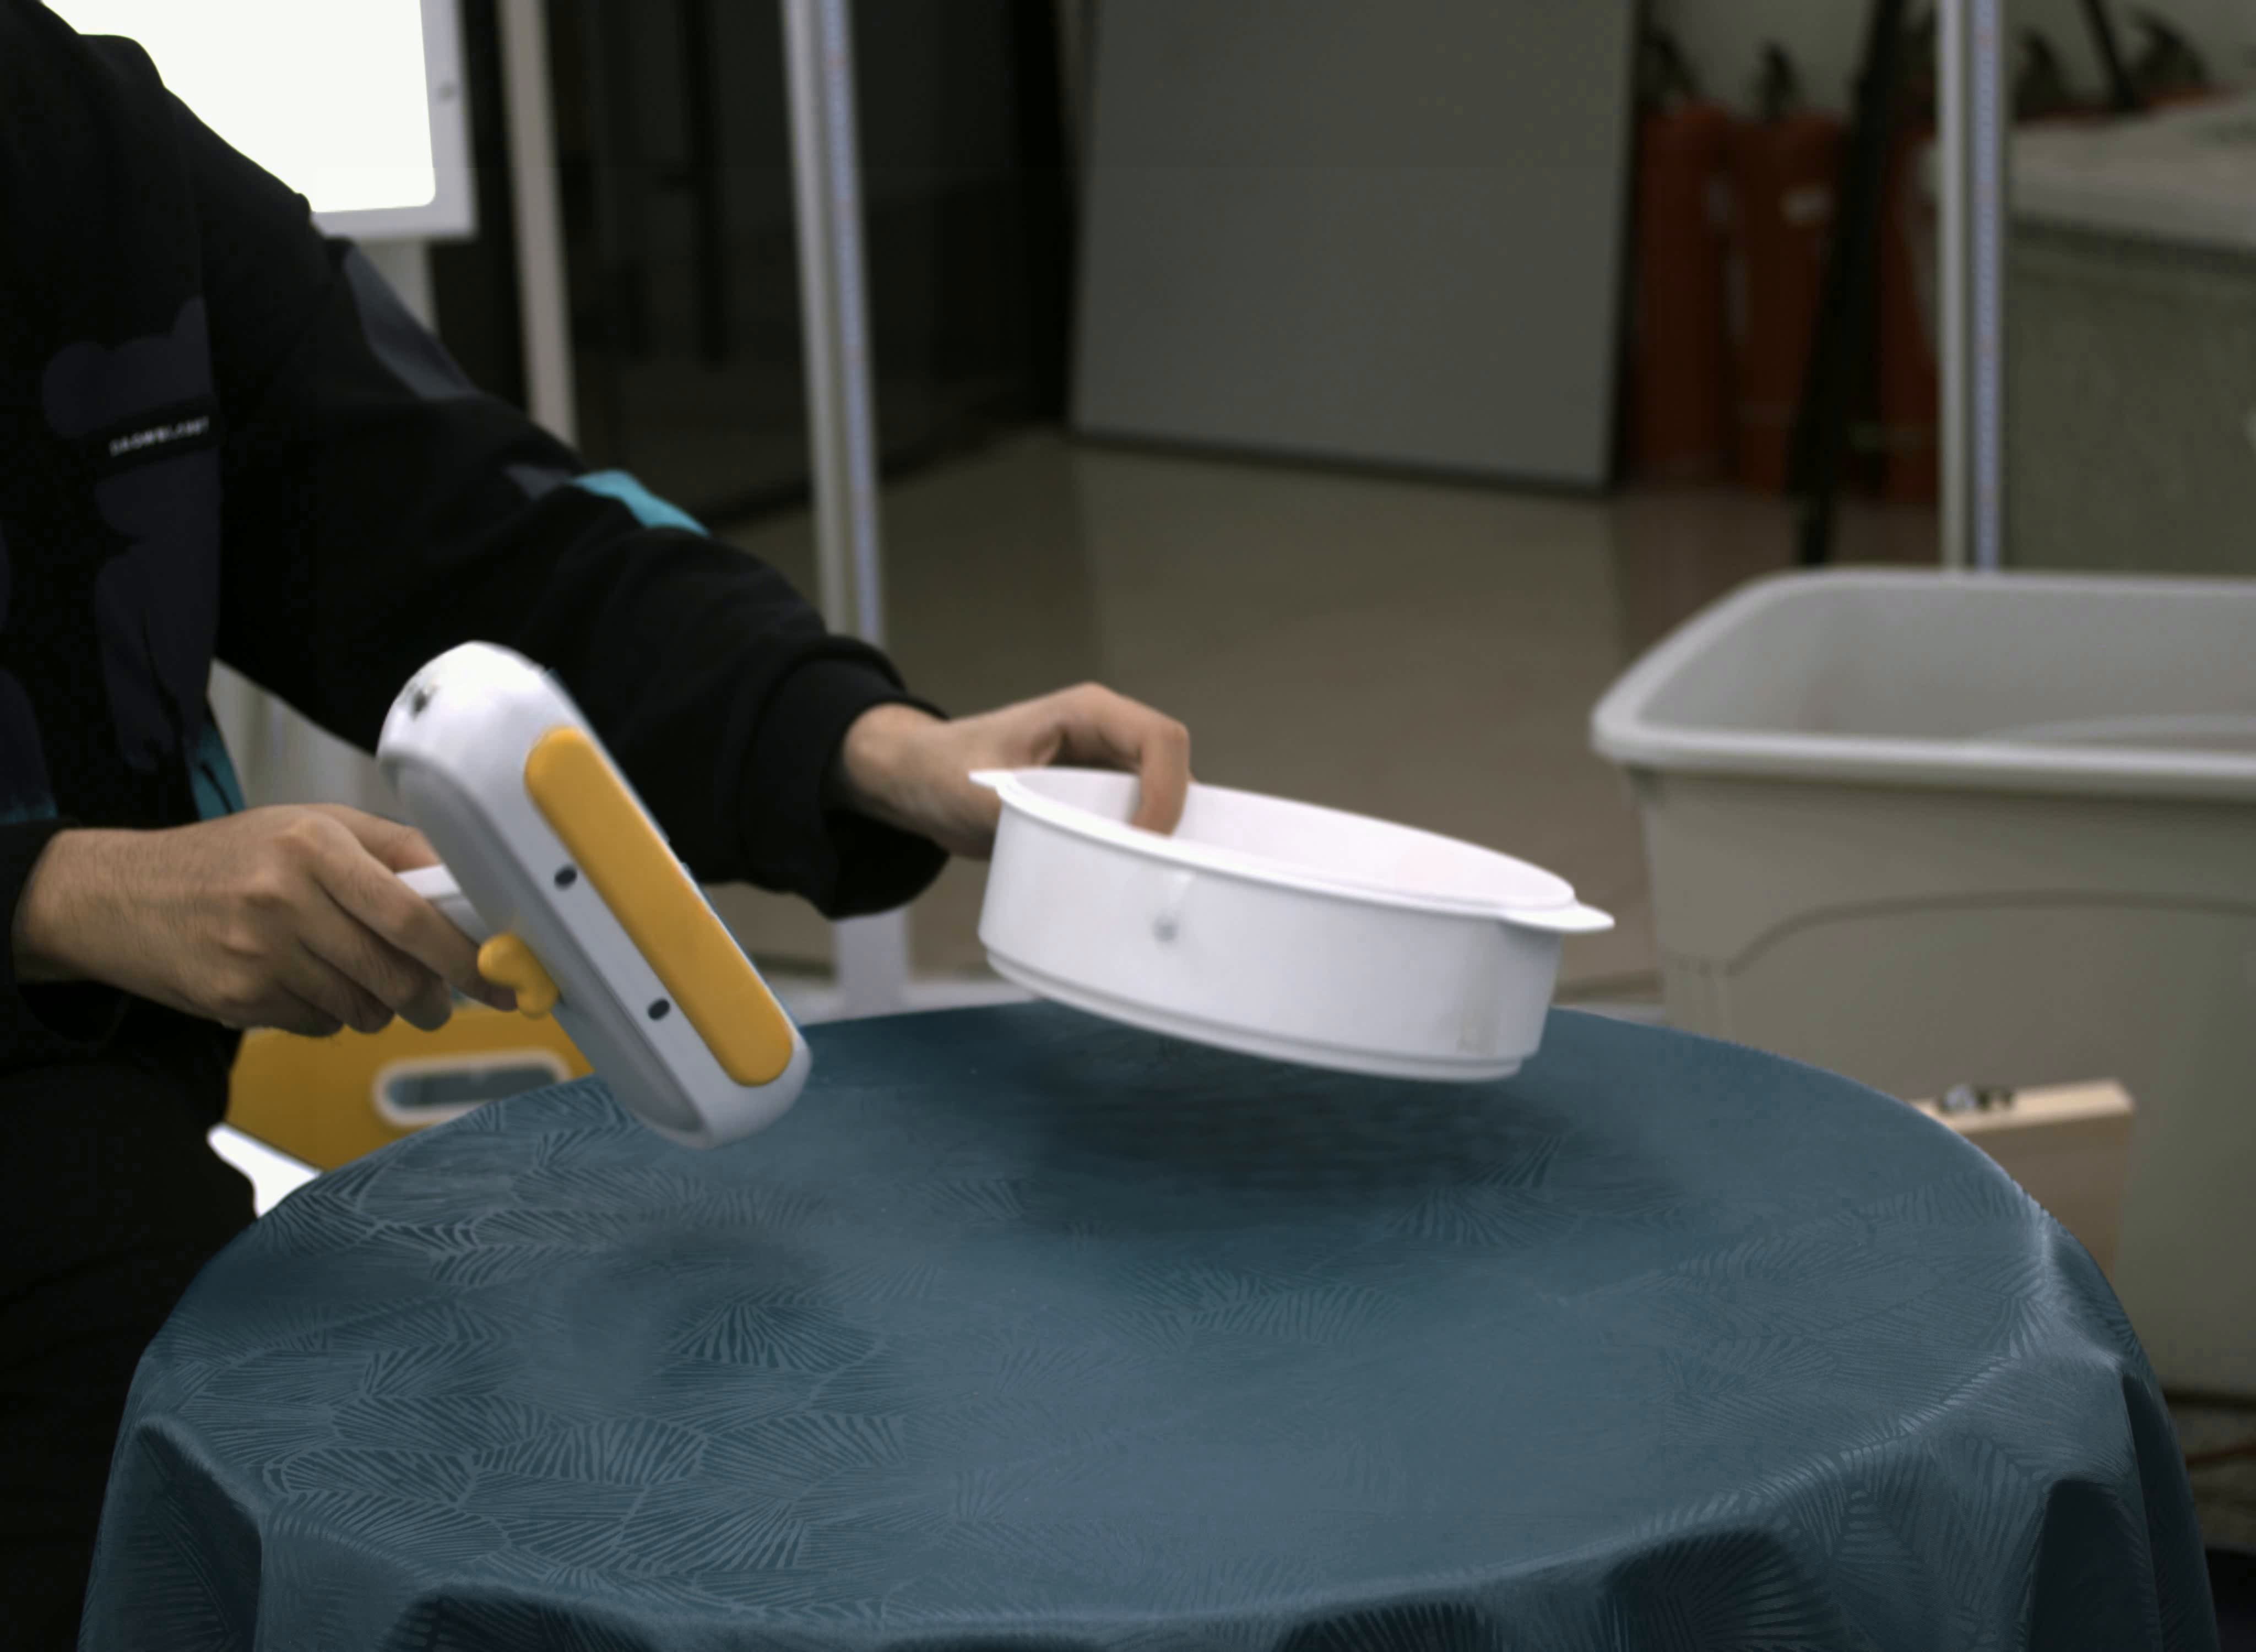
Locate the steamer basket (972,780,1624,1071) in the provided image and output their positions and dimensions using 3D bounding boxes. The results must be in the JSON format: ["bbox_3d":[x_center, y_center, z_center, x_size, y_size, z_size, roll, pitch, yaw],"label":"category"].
[{"bbox_3d":[0.051,0.034,1.801,0.231,0.070,0.199,11,4,26],"label":"steamer basket"}]

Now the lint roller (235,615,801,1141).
[{"bbox_3d":[-0.214,0.026,1.749,0.194,0.192,0.074,-4,41,48],"label":"lint roller"}]
